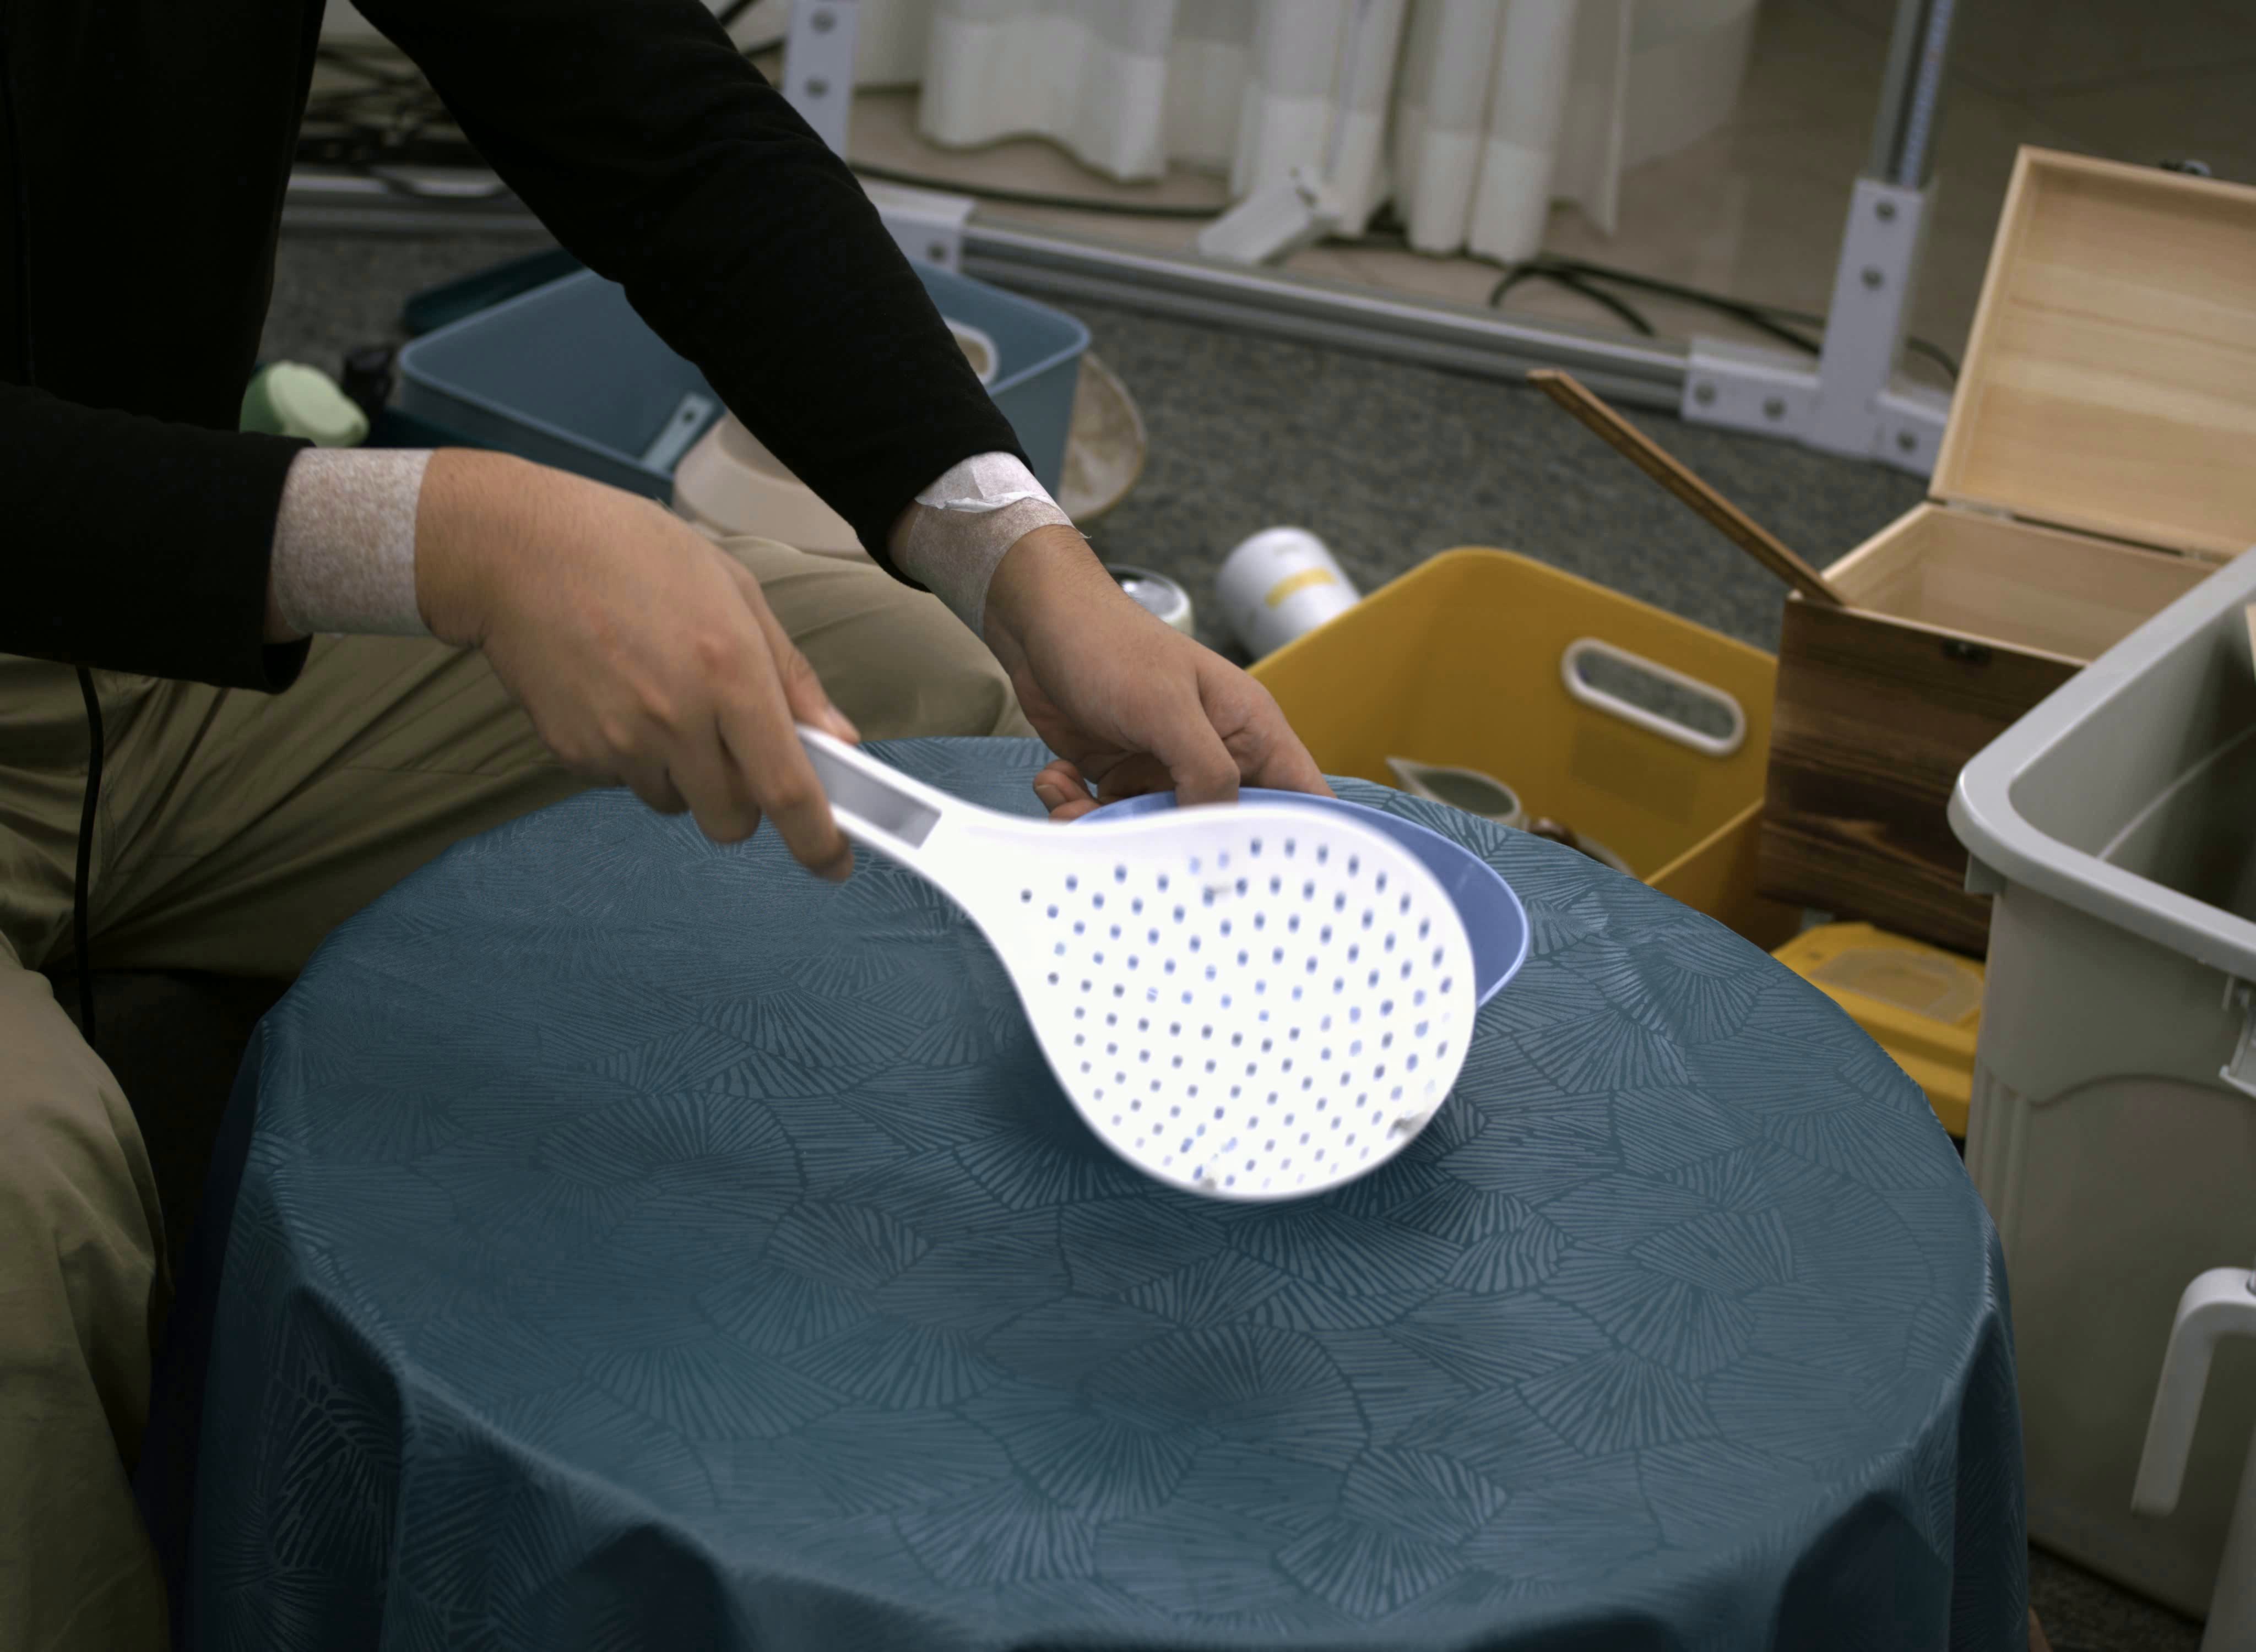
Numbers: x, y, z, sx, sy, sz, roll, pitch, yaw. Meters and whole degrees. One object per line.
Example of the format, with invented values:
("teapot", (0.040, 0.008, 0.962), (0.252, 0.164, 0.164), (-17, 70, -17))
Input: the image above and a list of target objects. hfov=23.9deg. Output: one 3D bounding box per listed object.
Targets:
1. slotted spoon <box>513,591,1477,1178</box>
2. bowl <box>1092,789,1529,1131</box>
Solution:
("slotted spoon", (-0.050, 0.006, 1.723), (0.350, 0.045, 0.136), (27, 70, 13))
("bowl", (0.050, 0.054, 1.870), (0.175, 0.070, 0.177), (5, 26, -3))
